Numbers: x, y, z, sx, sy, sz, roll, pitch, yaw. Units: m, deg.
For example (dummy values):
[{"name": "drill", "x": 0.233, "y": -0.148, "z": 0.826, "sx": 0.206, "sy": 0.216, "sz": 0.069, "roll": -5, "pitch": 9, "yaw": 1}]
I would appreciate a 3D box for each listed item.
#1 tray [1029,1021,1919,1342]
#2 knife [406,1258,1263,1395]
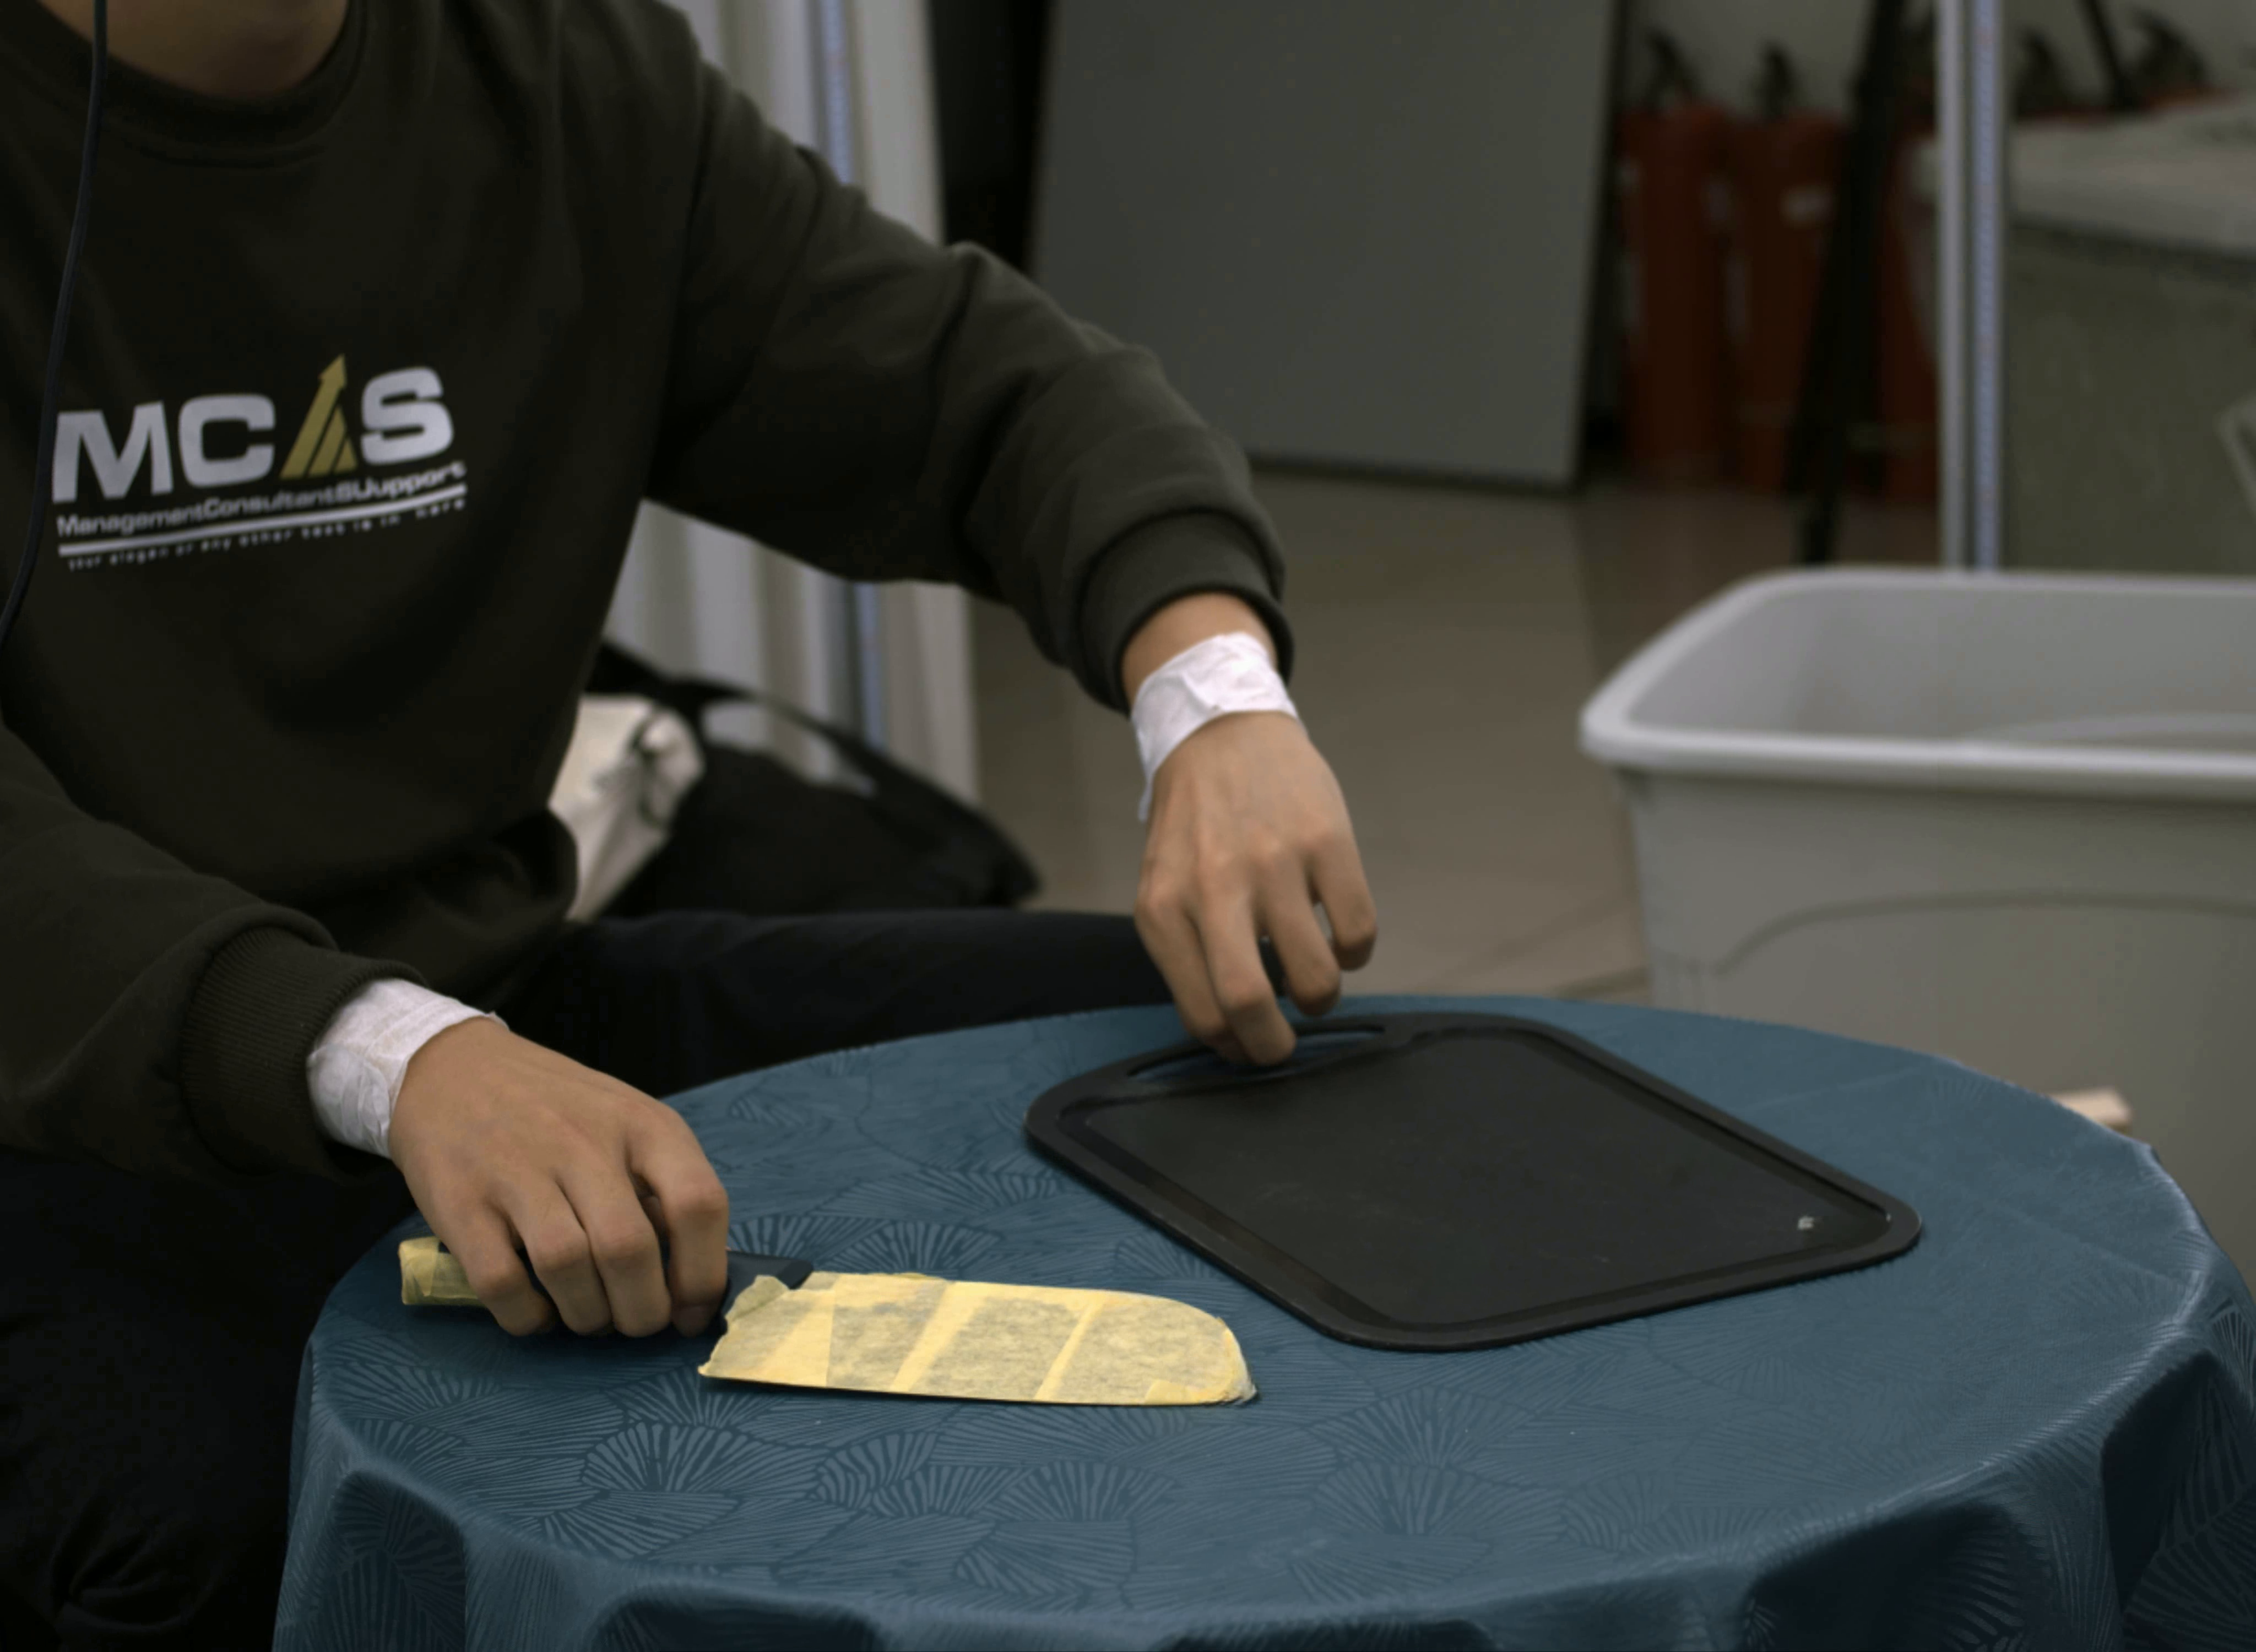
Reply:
[{"name": "tray", "x": 0.103, "y": 0.110, "z": 1.769, "sx": 0.206, "sy": 0.010, "sz": 0.328, "roll": -10, "pitch": 15, "yaw": -22}, {"name": "knife", "x": -0.094, "y": 0.154, "z": 1.637, "sx": 0.289, "sy": 0.027, "sz": 0.080, "roll": 1, "pitch": 19, "yaw": 21}]
